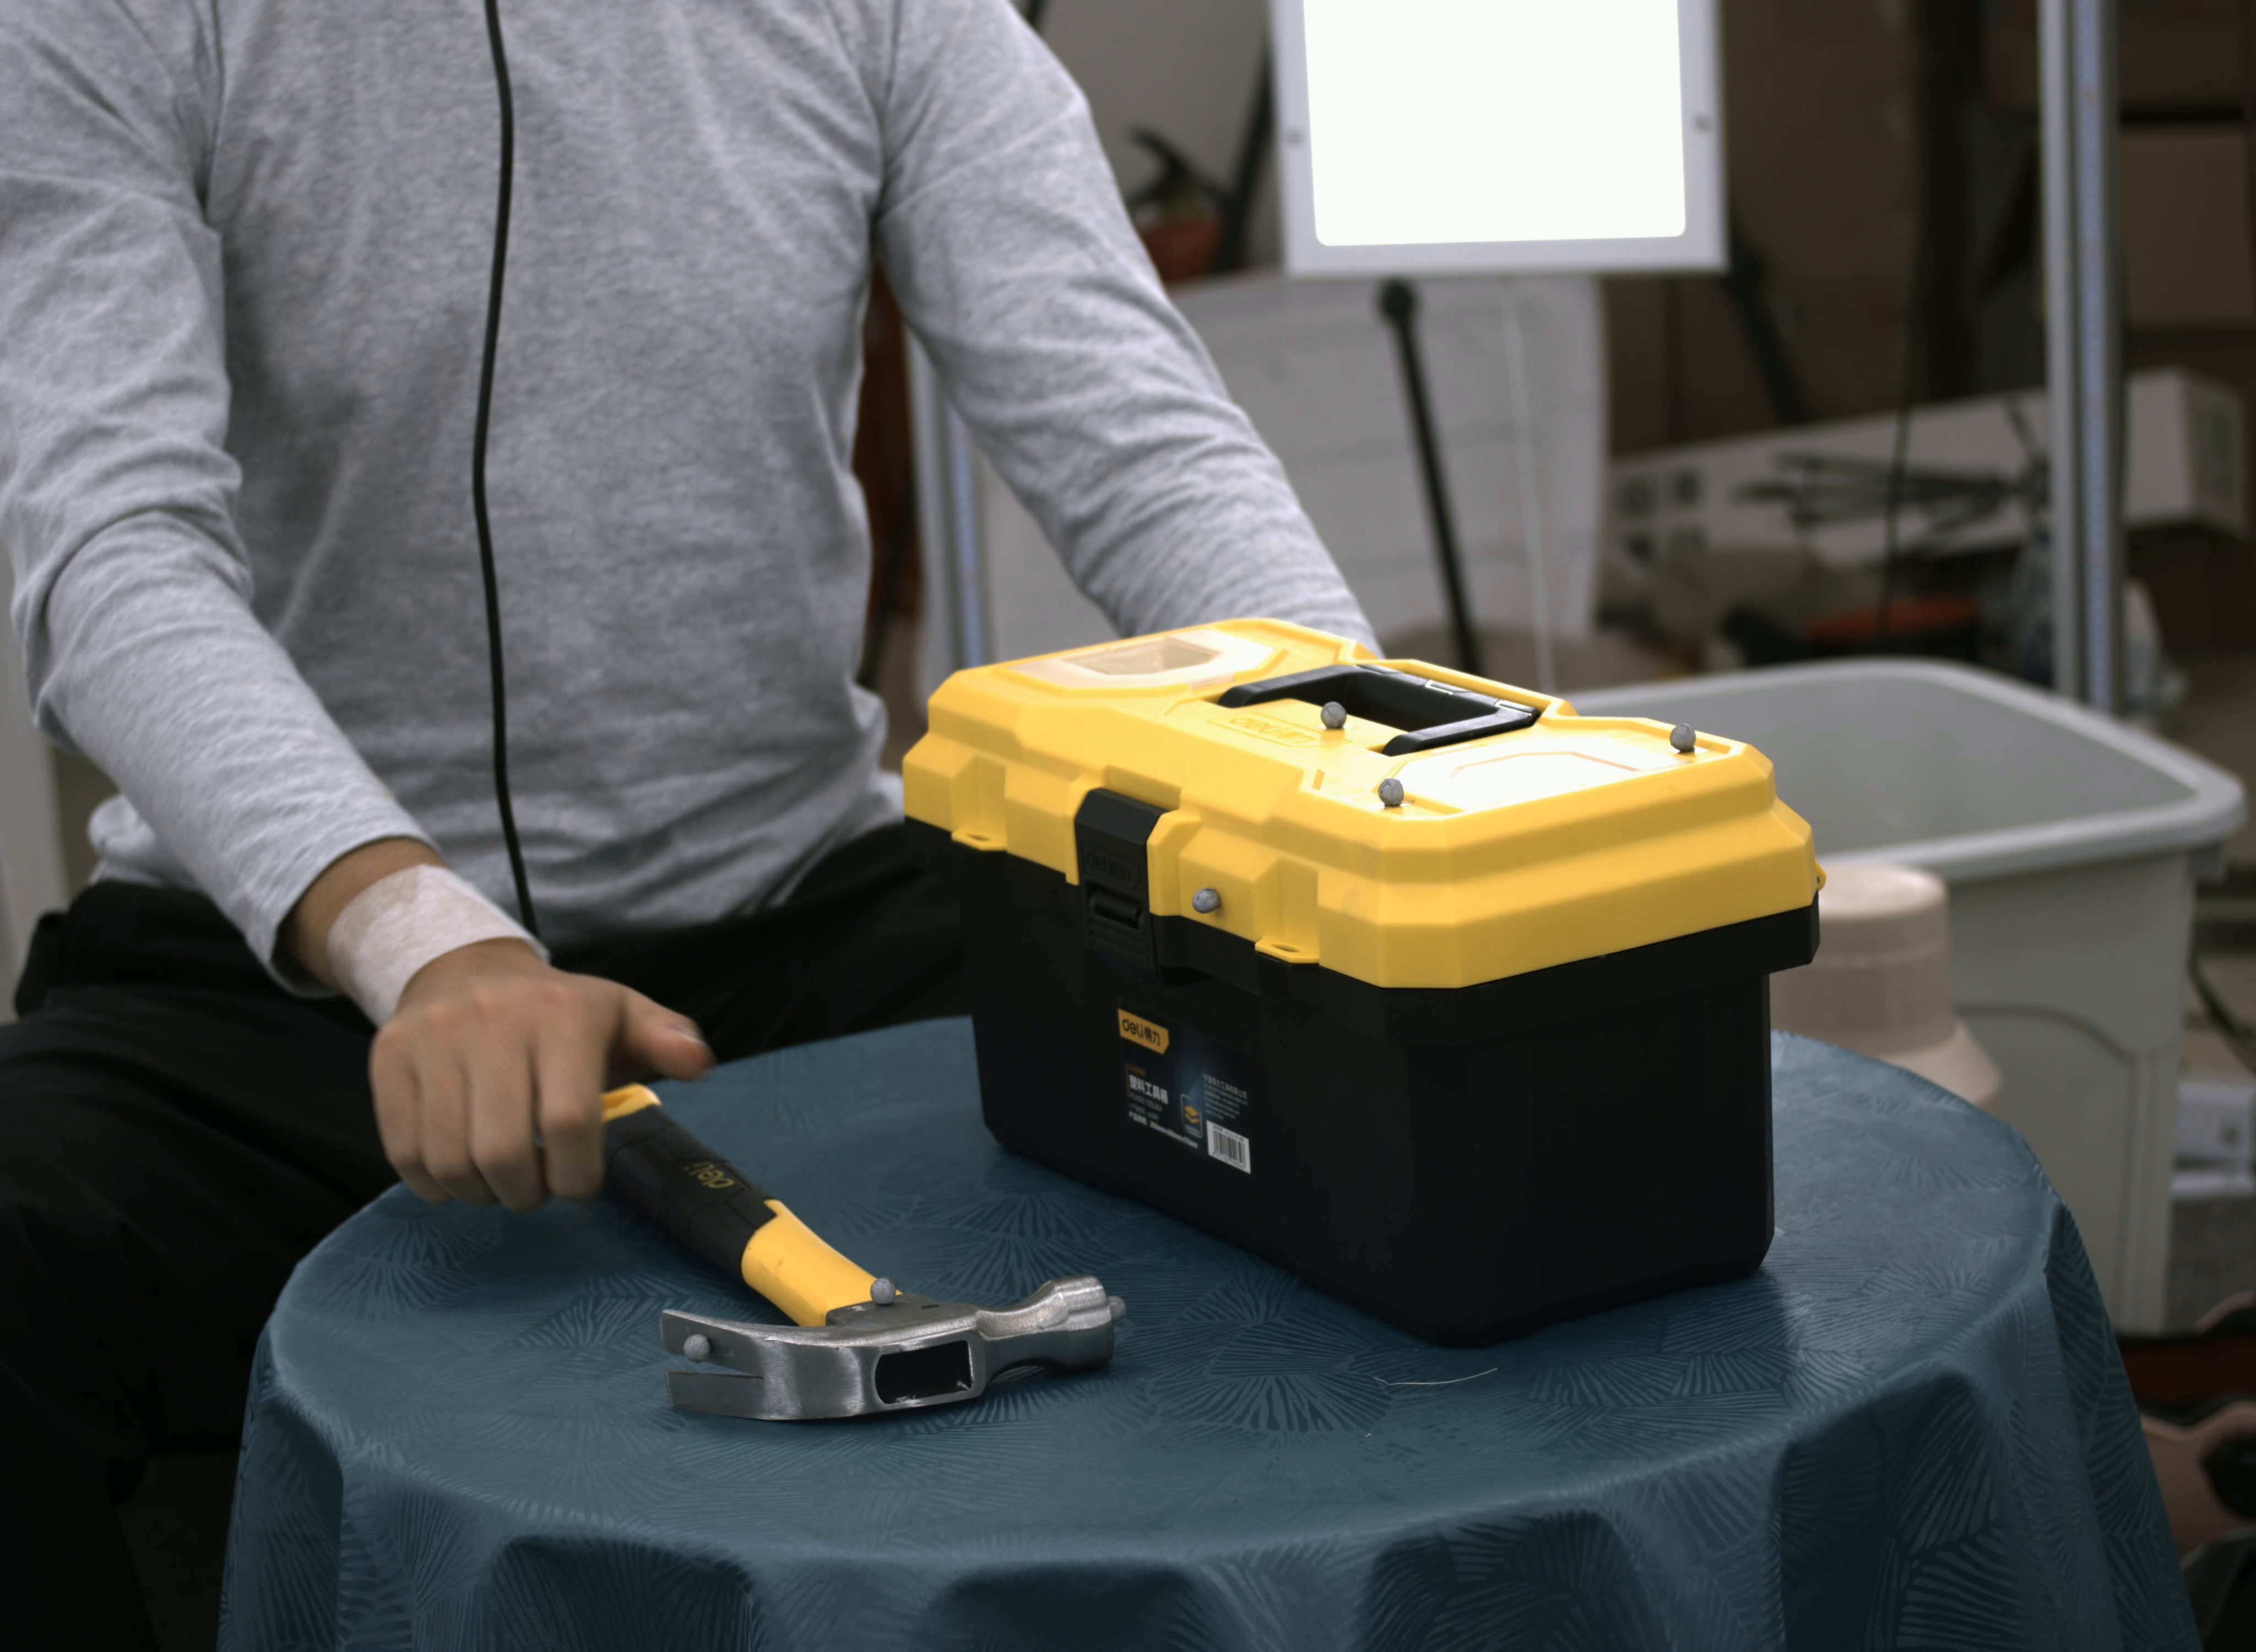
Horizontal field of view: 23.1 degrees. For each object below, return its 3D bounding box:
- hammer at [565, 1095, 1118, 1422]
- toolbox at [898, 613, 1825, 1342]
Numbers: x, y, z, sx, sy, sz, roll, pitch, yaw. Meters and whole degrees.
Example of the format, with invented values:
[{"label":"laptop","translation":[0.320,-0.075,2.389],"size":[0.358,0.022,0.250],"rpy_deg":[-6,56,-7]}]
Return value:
[{"label":"hammer","translation":[-0.124,0.137,1.845],"size":[0.129,0.032,0.343],"rpy_deg":[-12,14,-19]},{"label":"toolbox","translation":[0.073,0.043,1.844],"size":[0.177,0.173,0.357],"rpy_deg":[-12,15,-26]}]
